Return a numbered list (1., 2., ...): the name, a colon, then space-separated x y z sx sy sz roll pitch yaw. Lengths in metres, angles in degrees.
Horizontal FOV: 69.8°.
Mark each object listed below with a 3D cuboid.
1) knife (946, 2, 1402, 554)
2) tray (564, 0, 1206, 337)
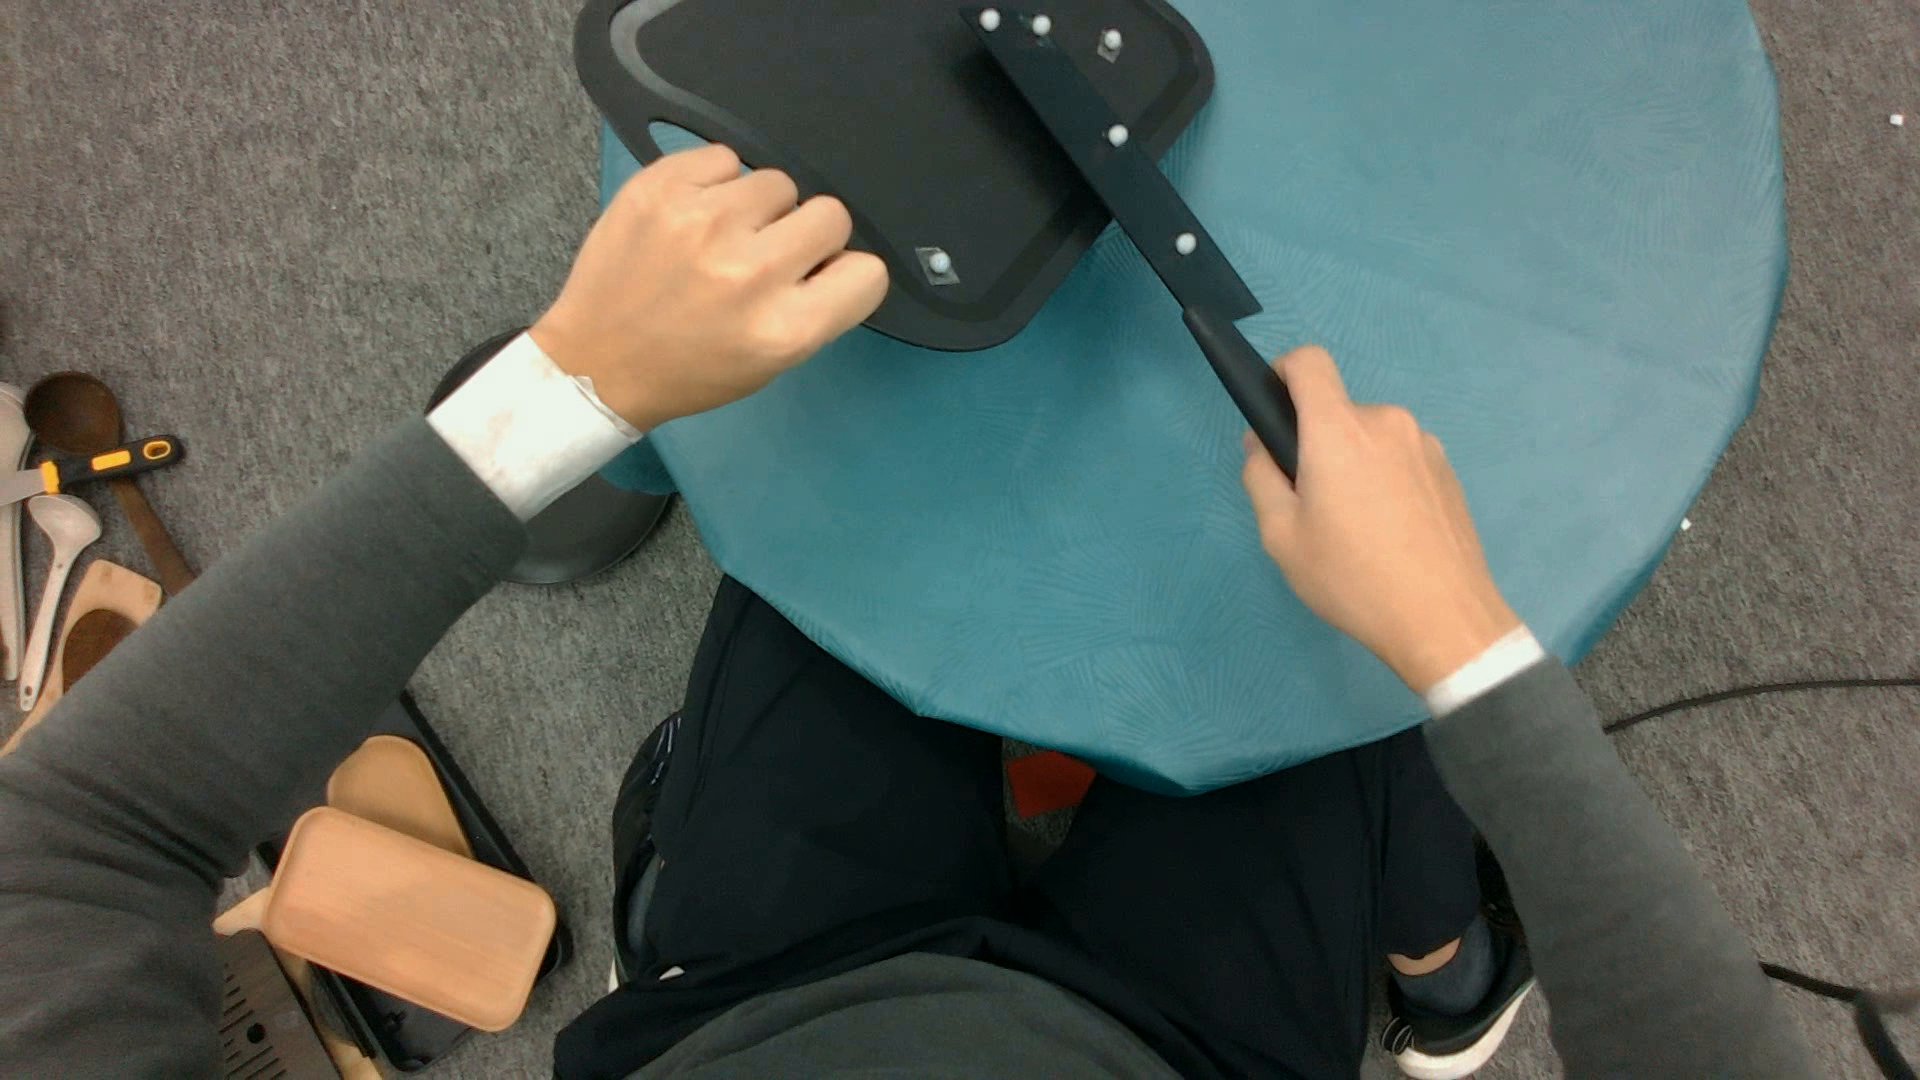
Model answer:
1. knife: 0.094 -0.120 0.596 0.021 0.081 0.302 -42 76 37
2. tray: -0.017 -0.213 0.608 0.211 0.010 0.327 37 50 0
